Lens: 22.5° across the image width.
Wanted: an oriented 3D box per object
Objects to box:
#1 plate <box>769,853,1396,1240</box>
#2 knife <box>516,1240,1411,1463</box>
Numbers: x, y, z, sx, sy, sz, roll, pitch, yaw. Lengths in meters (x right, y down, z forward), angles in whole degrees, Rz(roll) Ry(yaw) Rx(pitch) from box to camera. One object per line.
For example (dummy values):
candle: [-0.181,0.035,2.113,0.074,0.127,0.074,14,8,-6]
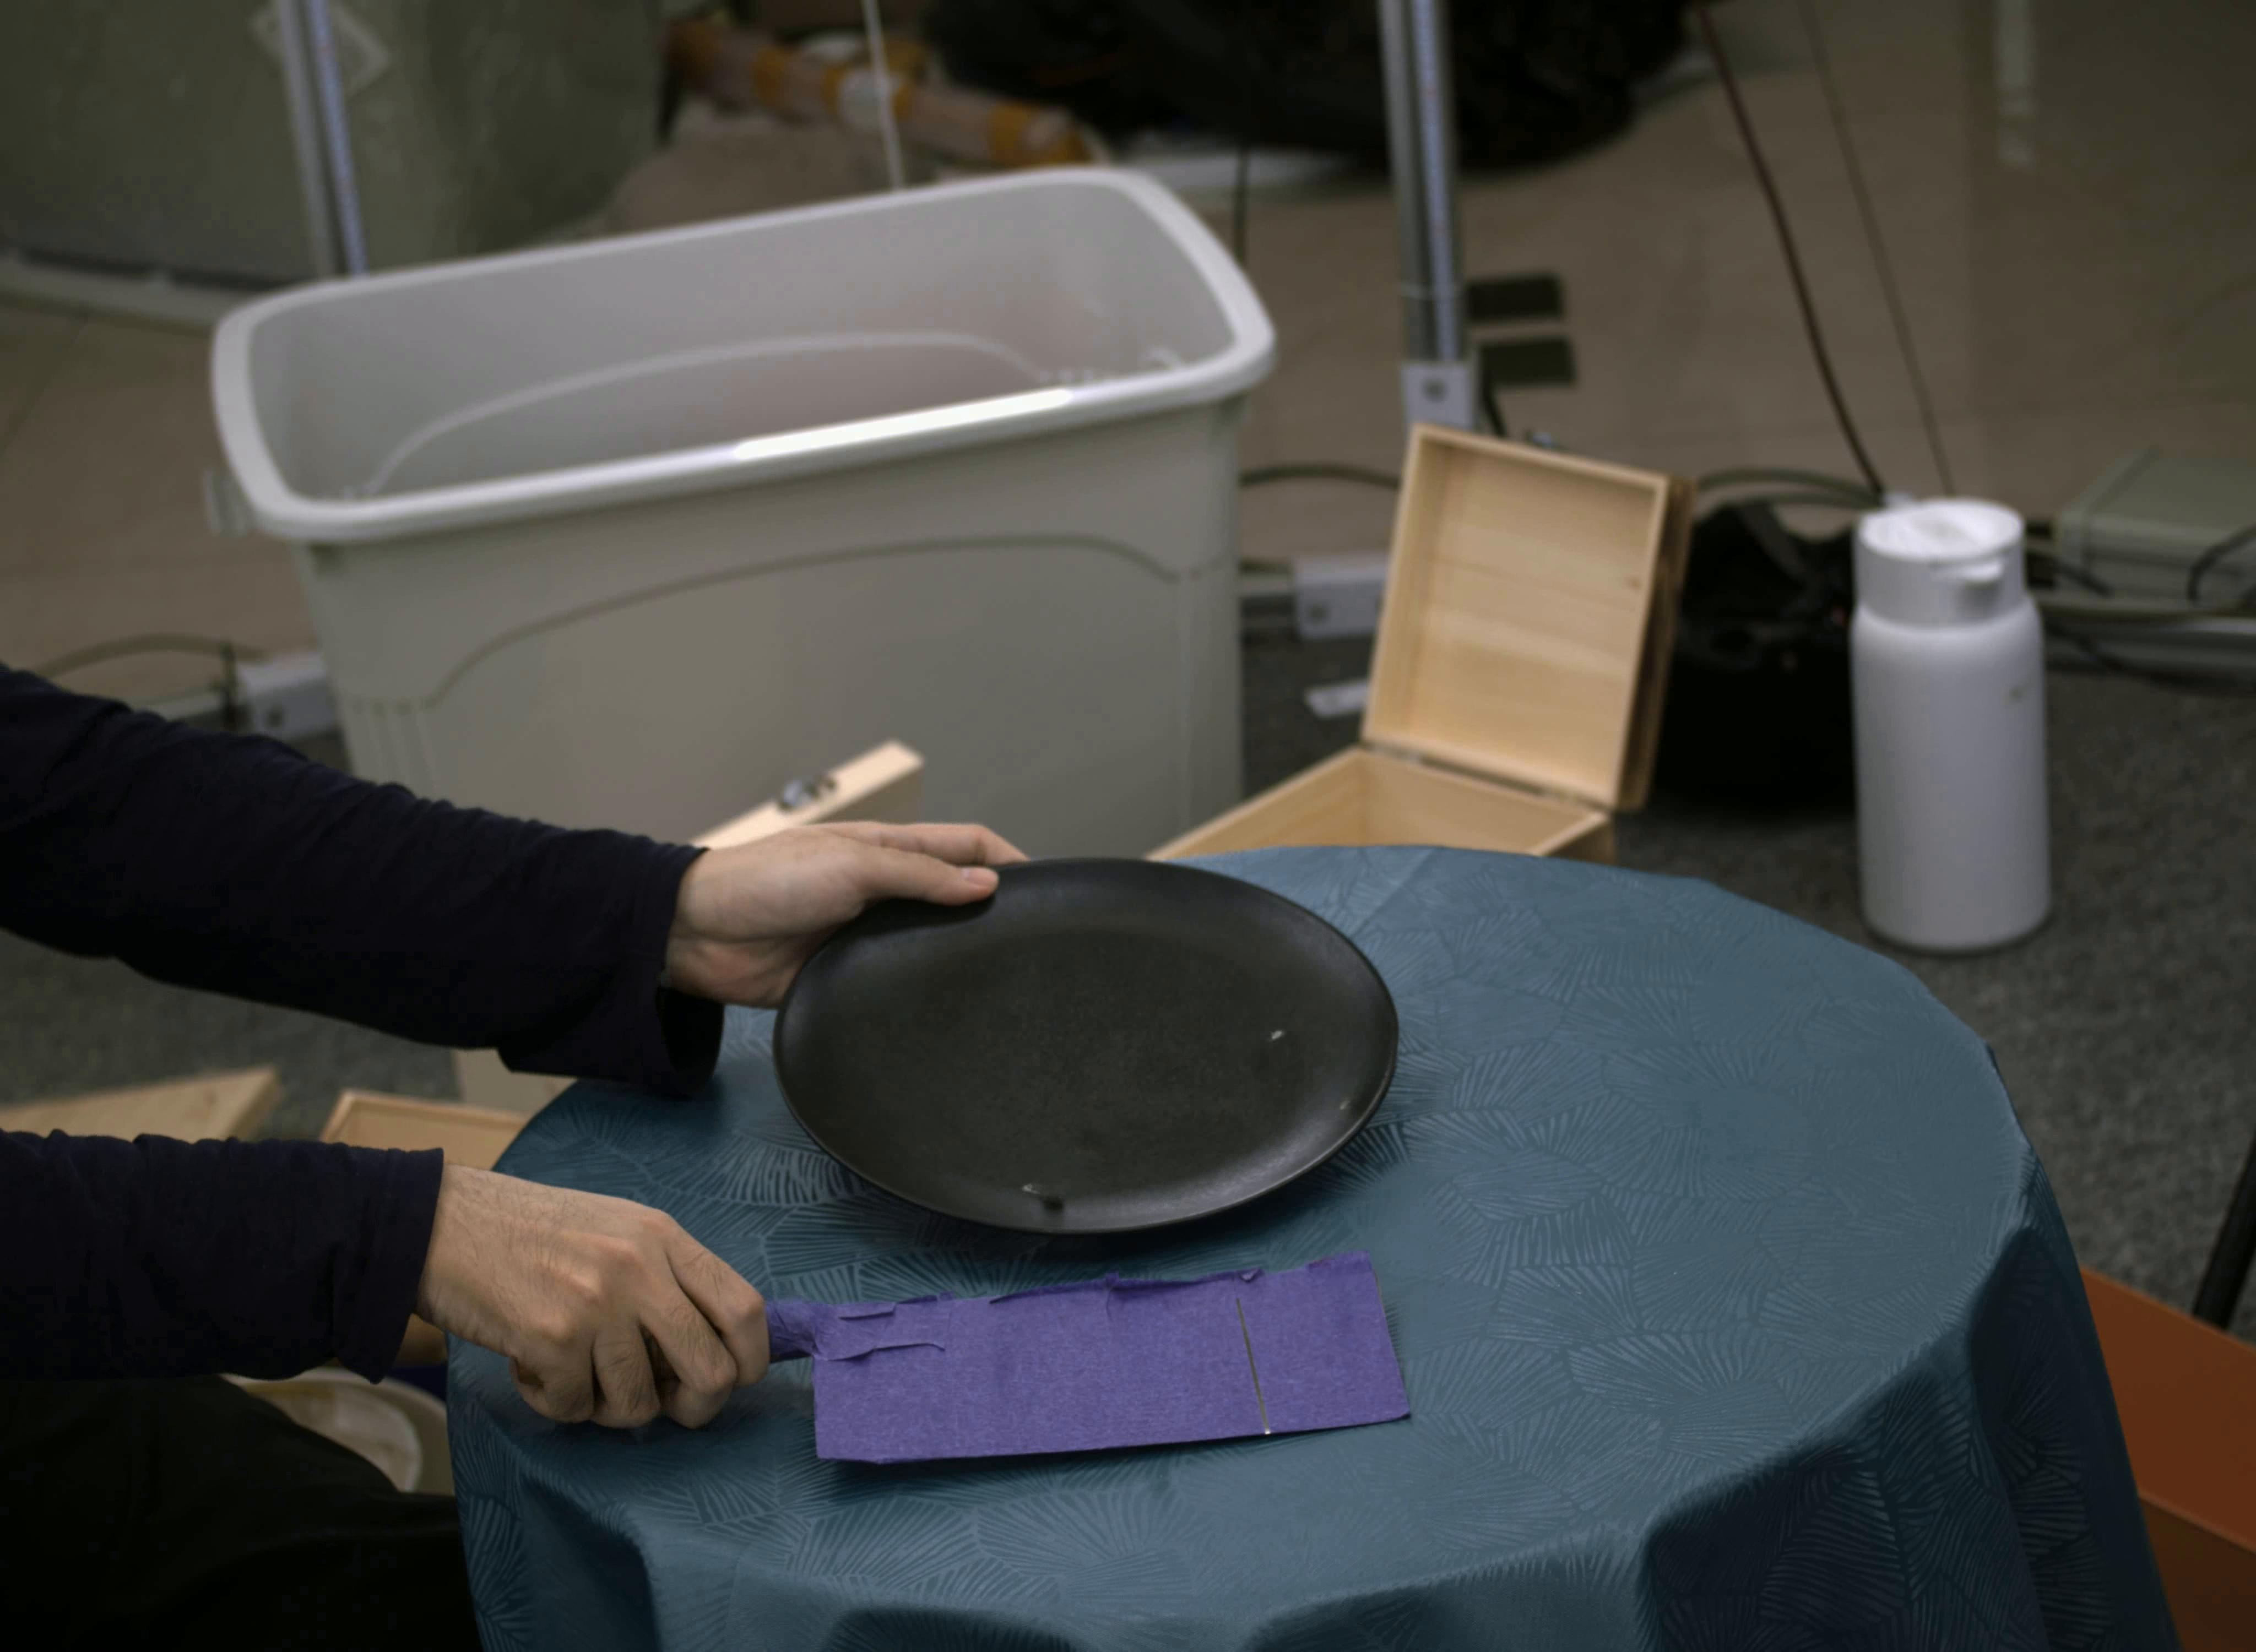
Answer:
plate: [-0.018,0.089,2.193,0.244,0.024,0.240,0,36,0]
knife: [-0.059,0.189,2.008,0.315,0.033,0.102,-6,31,-2]
